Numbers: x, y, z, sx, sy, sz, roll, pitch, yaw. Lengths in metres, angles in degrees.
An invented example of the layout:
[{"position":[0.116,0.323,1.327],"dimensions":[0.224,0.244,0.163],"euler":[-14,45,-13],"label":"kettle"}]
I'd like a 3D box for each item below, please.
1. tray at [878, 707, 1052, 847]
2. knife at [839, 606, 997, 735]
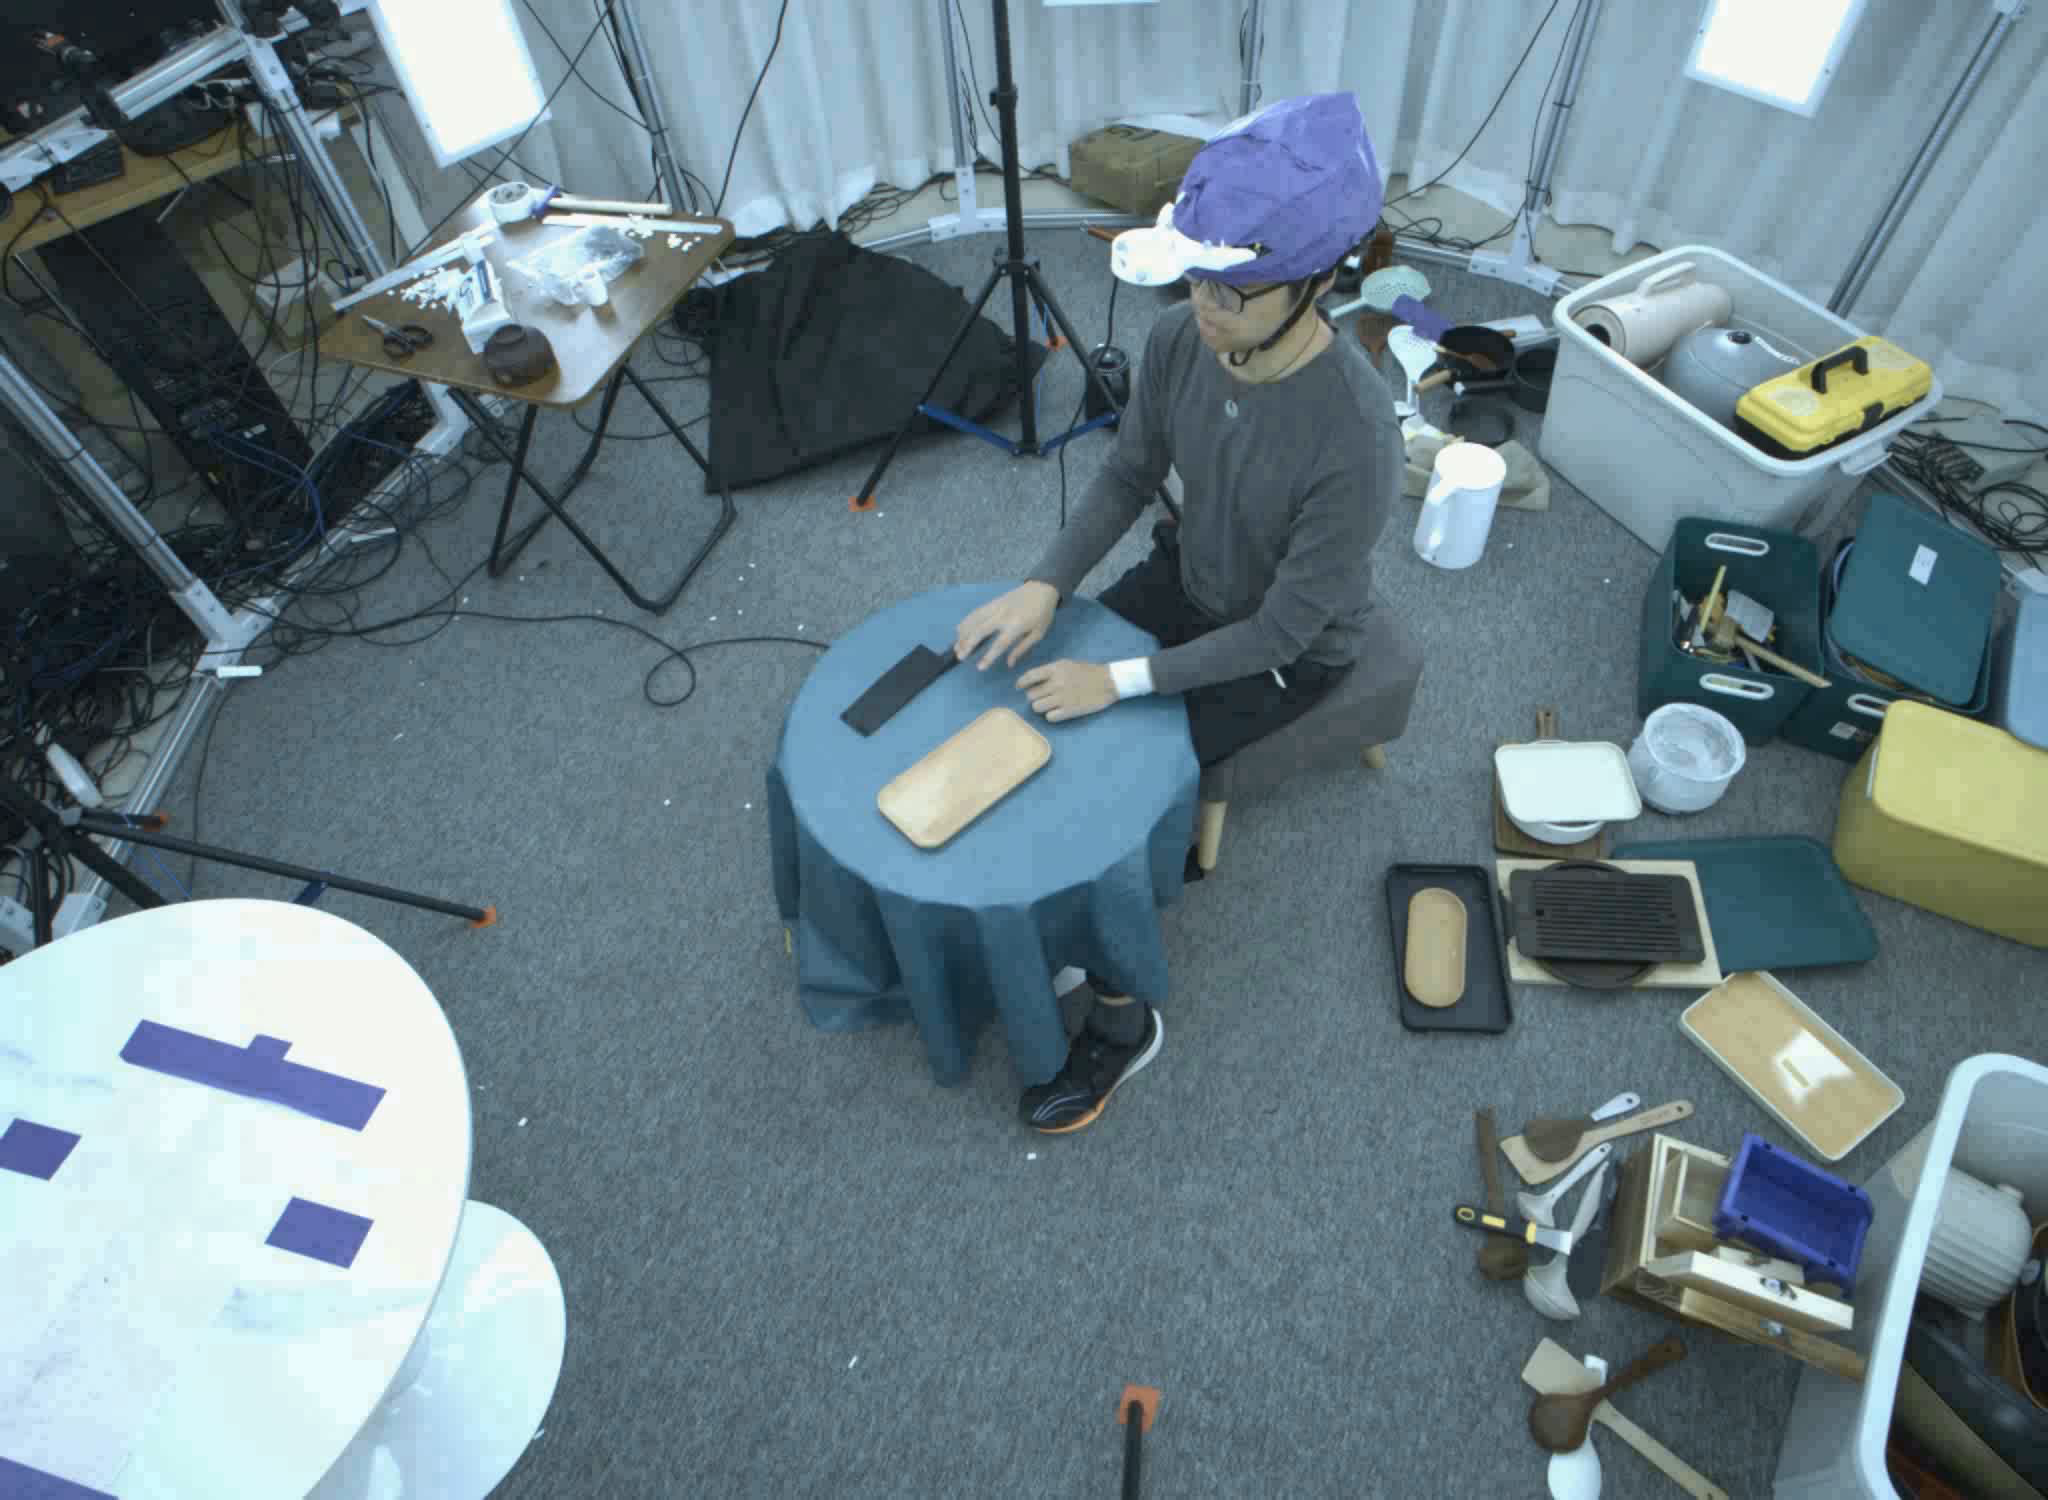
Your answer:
[{"position":[-0.083,0.036,1.761],"dimensions":[0.253,0.023,0.128],"euler":[-36,64,-23],"label":"tray"},{"position":[-0.156,-0.129,1.883],"dimensions":[0.304,0.021,0.079],"euler":[-40,61,-22],"label":"knife"}]
